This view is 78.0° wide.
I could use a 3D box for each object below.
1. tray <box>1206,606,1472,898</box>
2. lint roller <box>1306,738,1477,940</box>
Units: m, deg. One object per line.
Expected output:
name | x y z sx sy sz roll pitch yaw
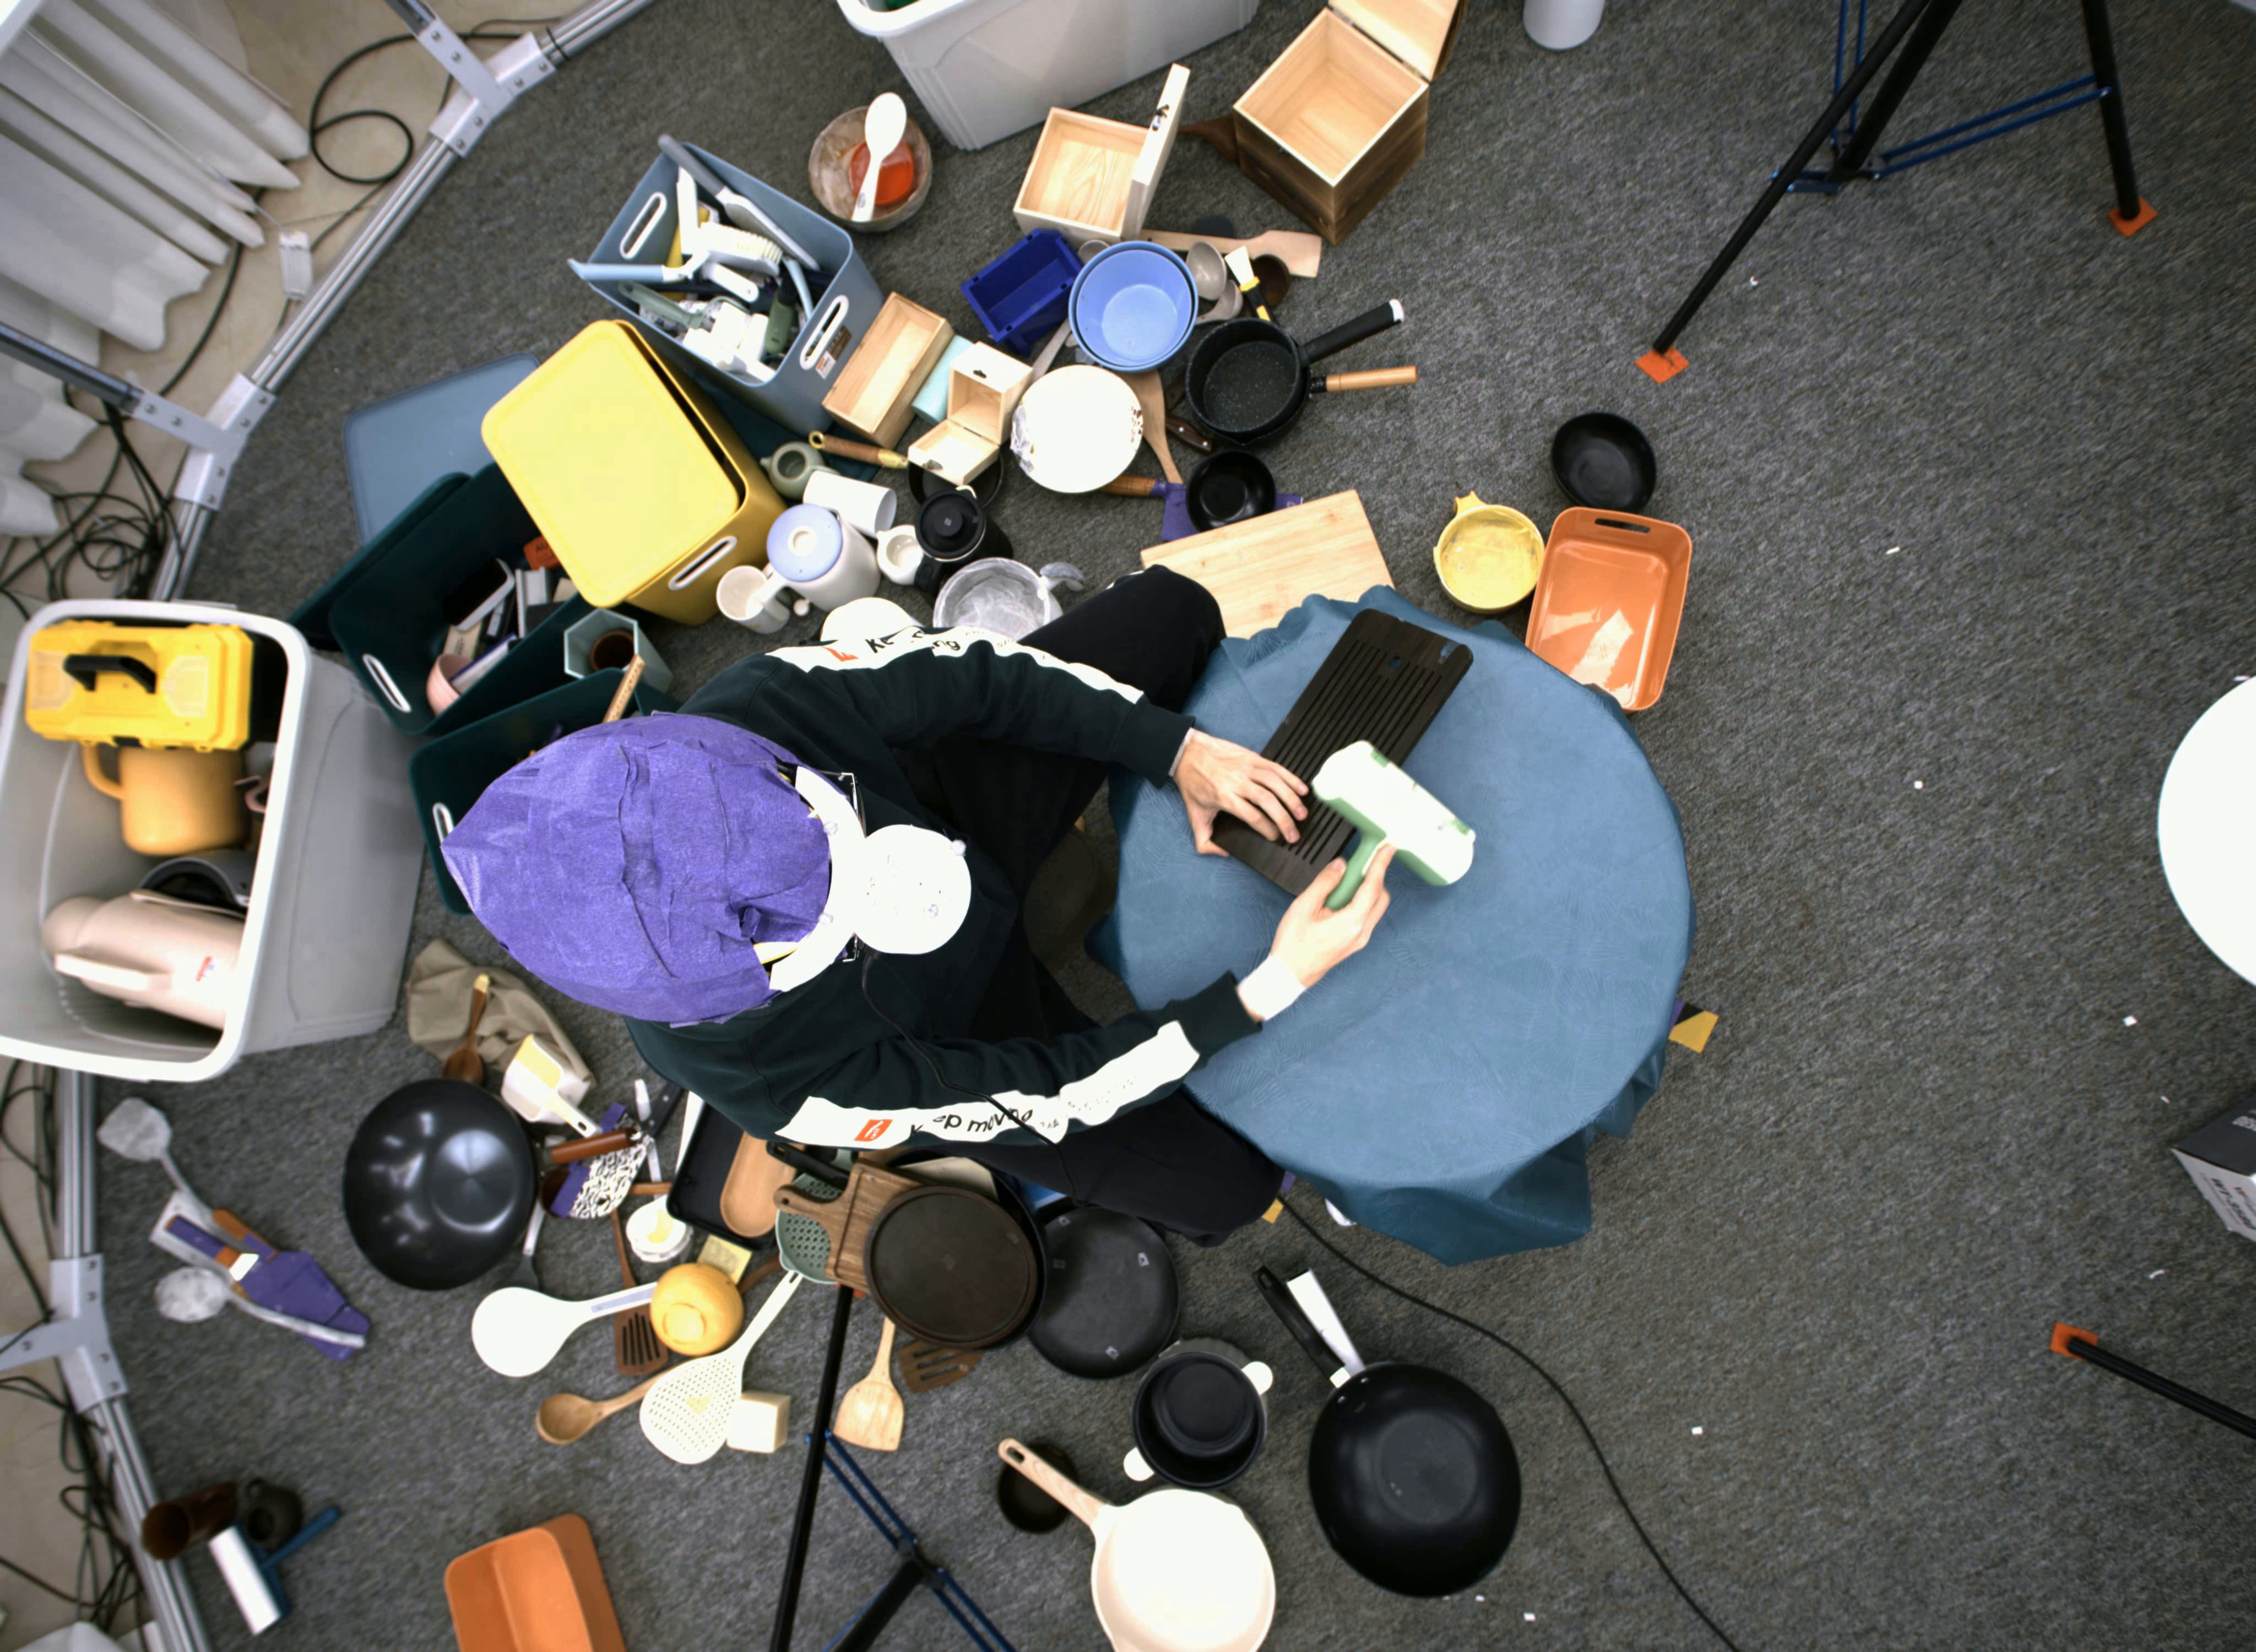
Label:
tray | 0.215 -0.081 1.421 0.307 0.019 0.168 -56 42 3
lint roller | 0.241 0.037 1.330 0.200 0.082 0.182 34 85 -34
